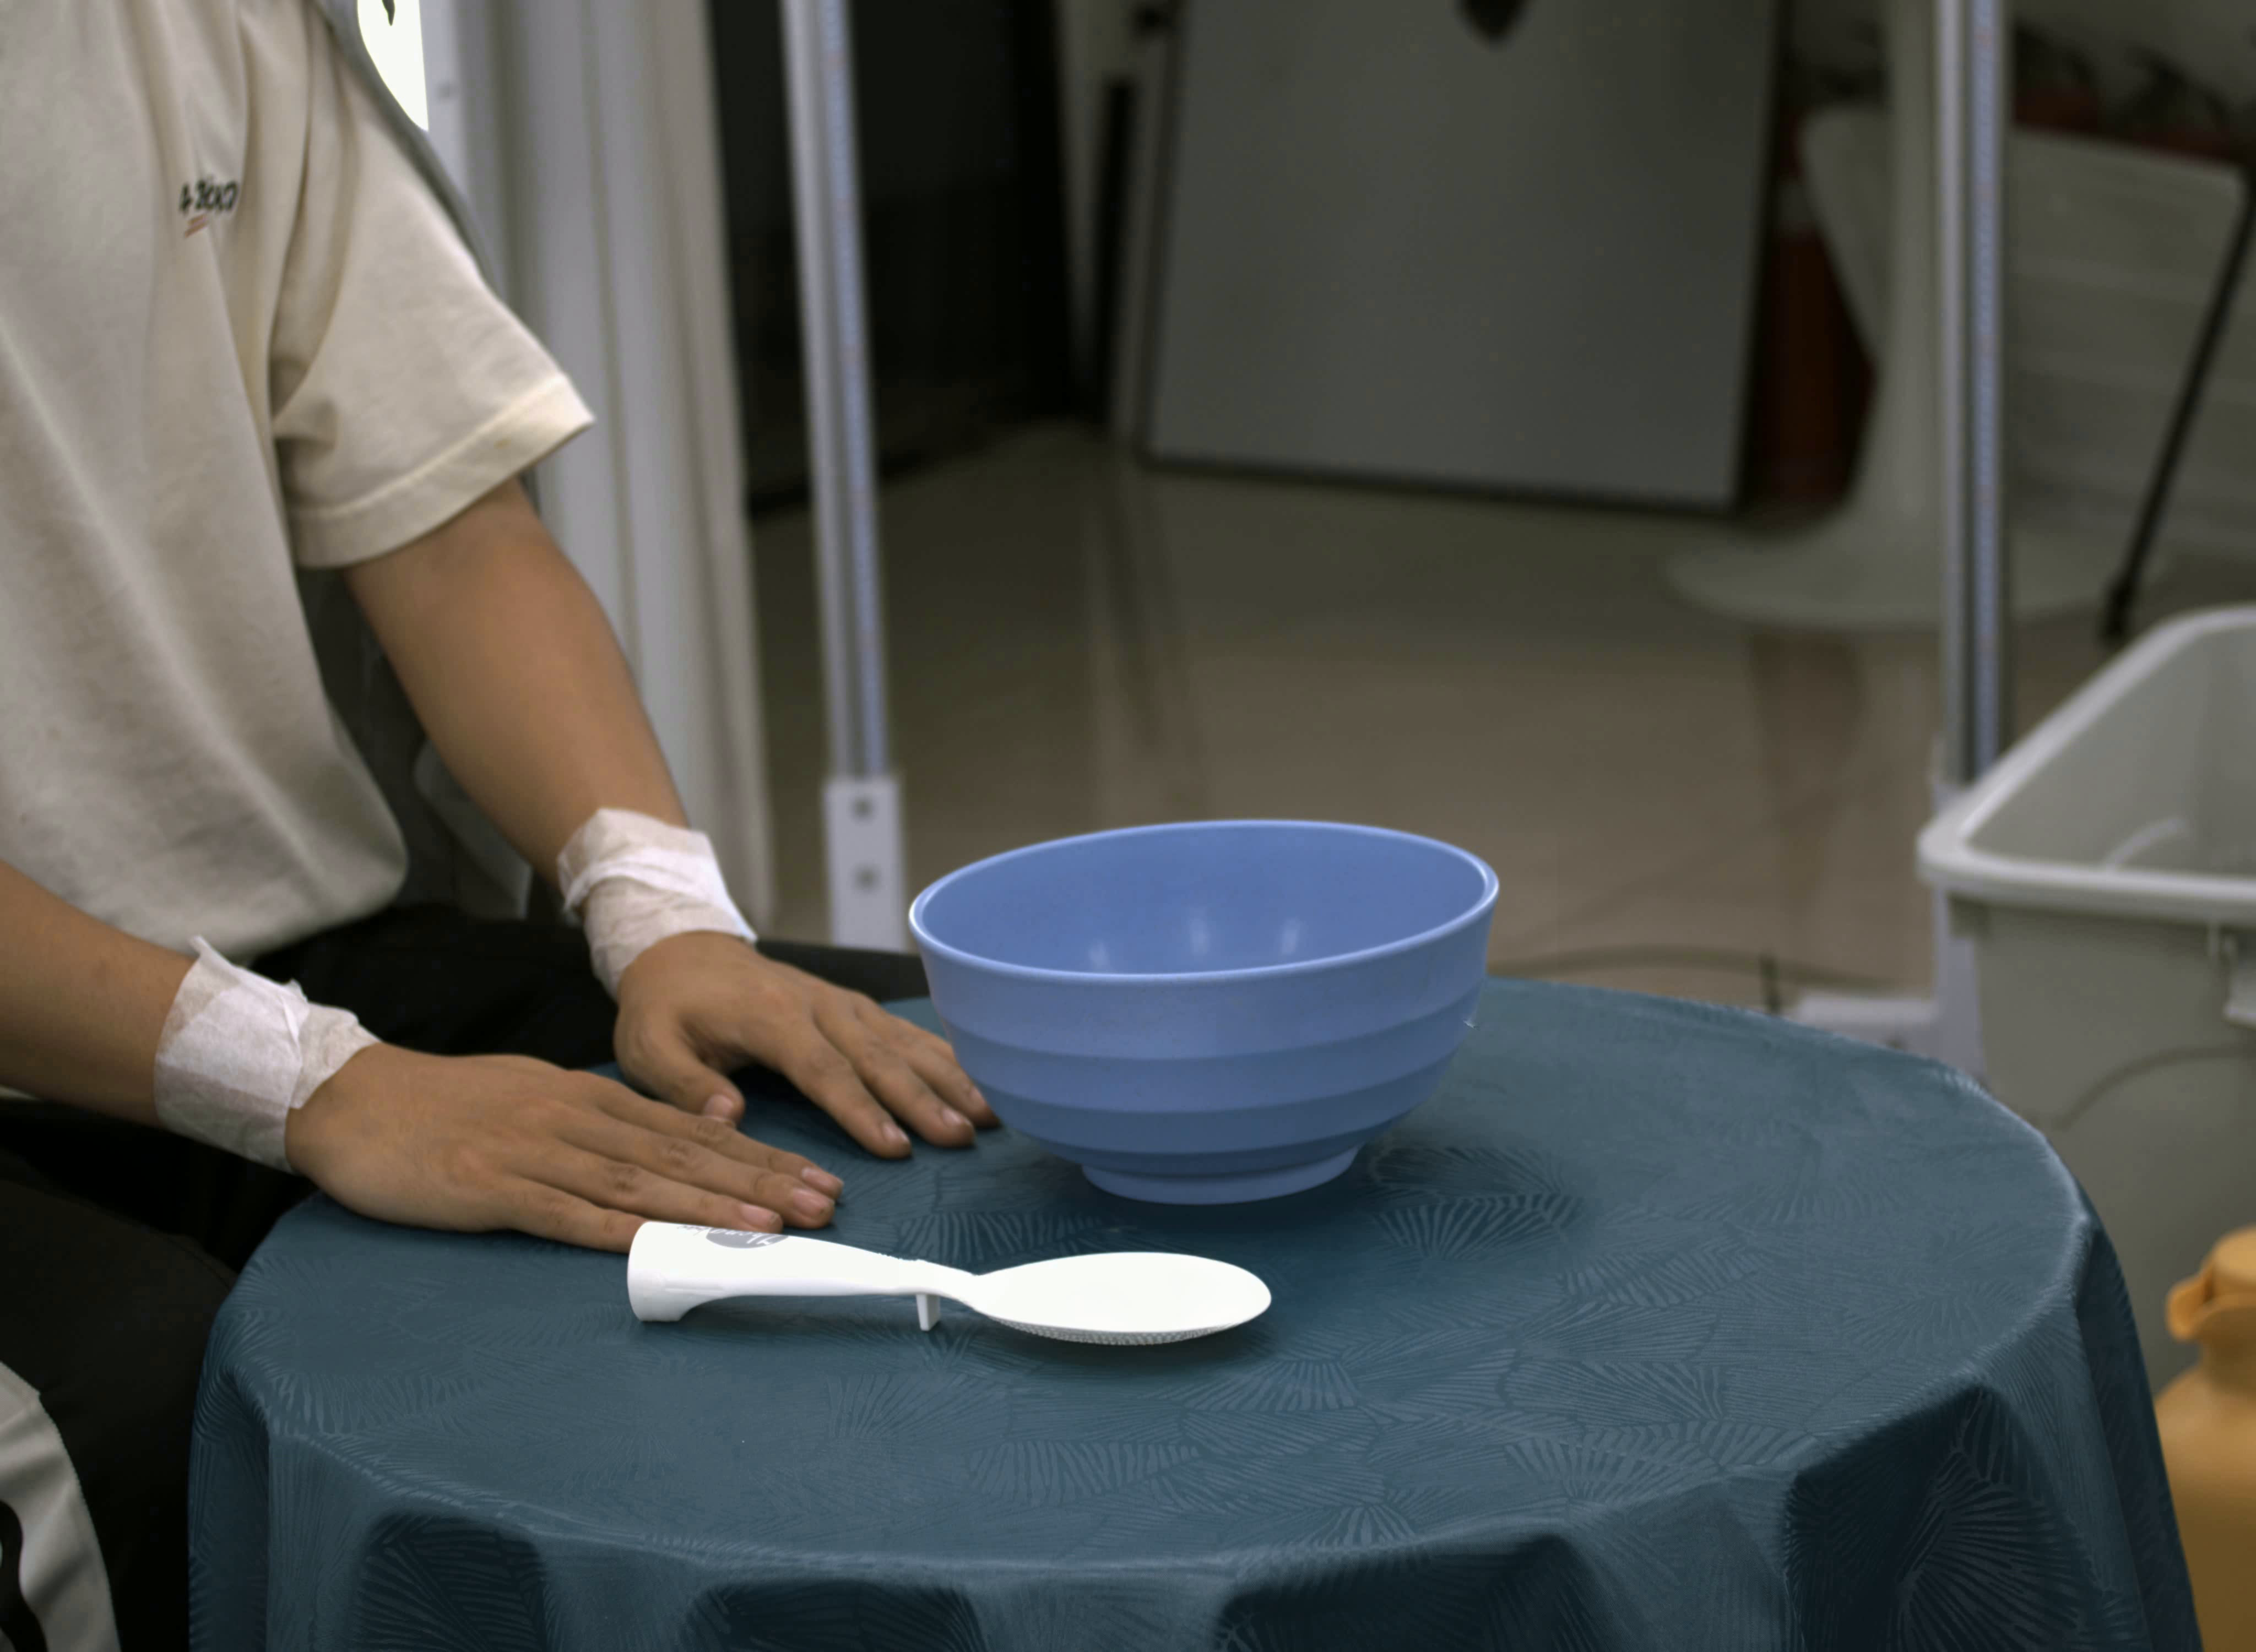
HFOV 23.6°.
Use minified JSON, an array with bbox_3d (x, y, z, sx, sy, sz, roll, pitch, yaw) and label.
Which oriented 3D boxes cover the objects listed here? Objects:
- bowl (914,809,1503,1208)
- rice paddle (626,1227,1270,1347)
[{"bbox_3d":[0.028,0.066,1.786,0.194,0.096,0.197,-2,16,0],"label":"bowl"},{"bbox_3d":[-0.054,0.140,1.650,0.205,0.030,0.068,1,16,18],"label":"rice paddle"}]
